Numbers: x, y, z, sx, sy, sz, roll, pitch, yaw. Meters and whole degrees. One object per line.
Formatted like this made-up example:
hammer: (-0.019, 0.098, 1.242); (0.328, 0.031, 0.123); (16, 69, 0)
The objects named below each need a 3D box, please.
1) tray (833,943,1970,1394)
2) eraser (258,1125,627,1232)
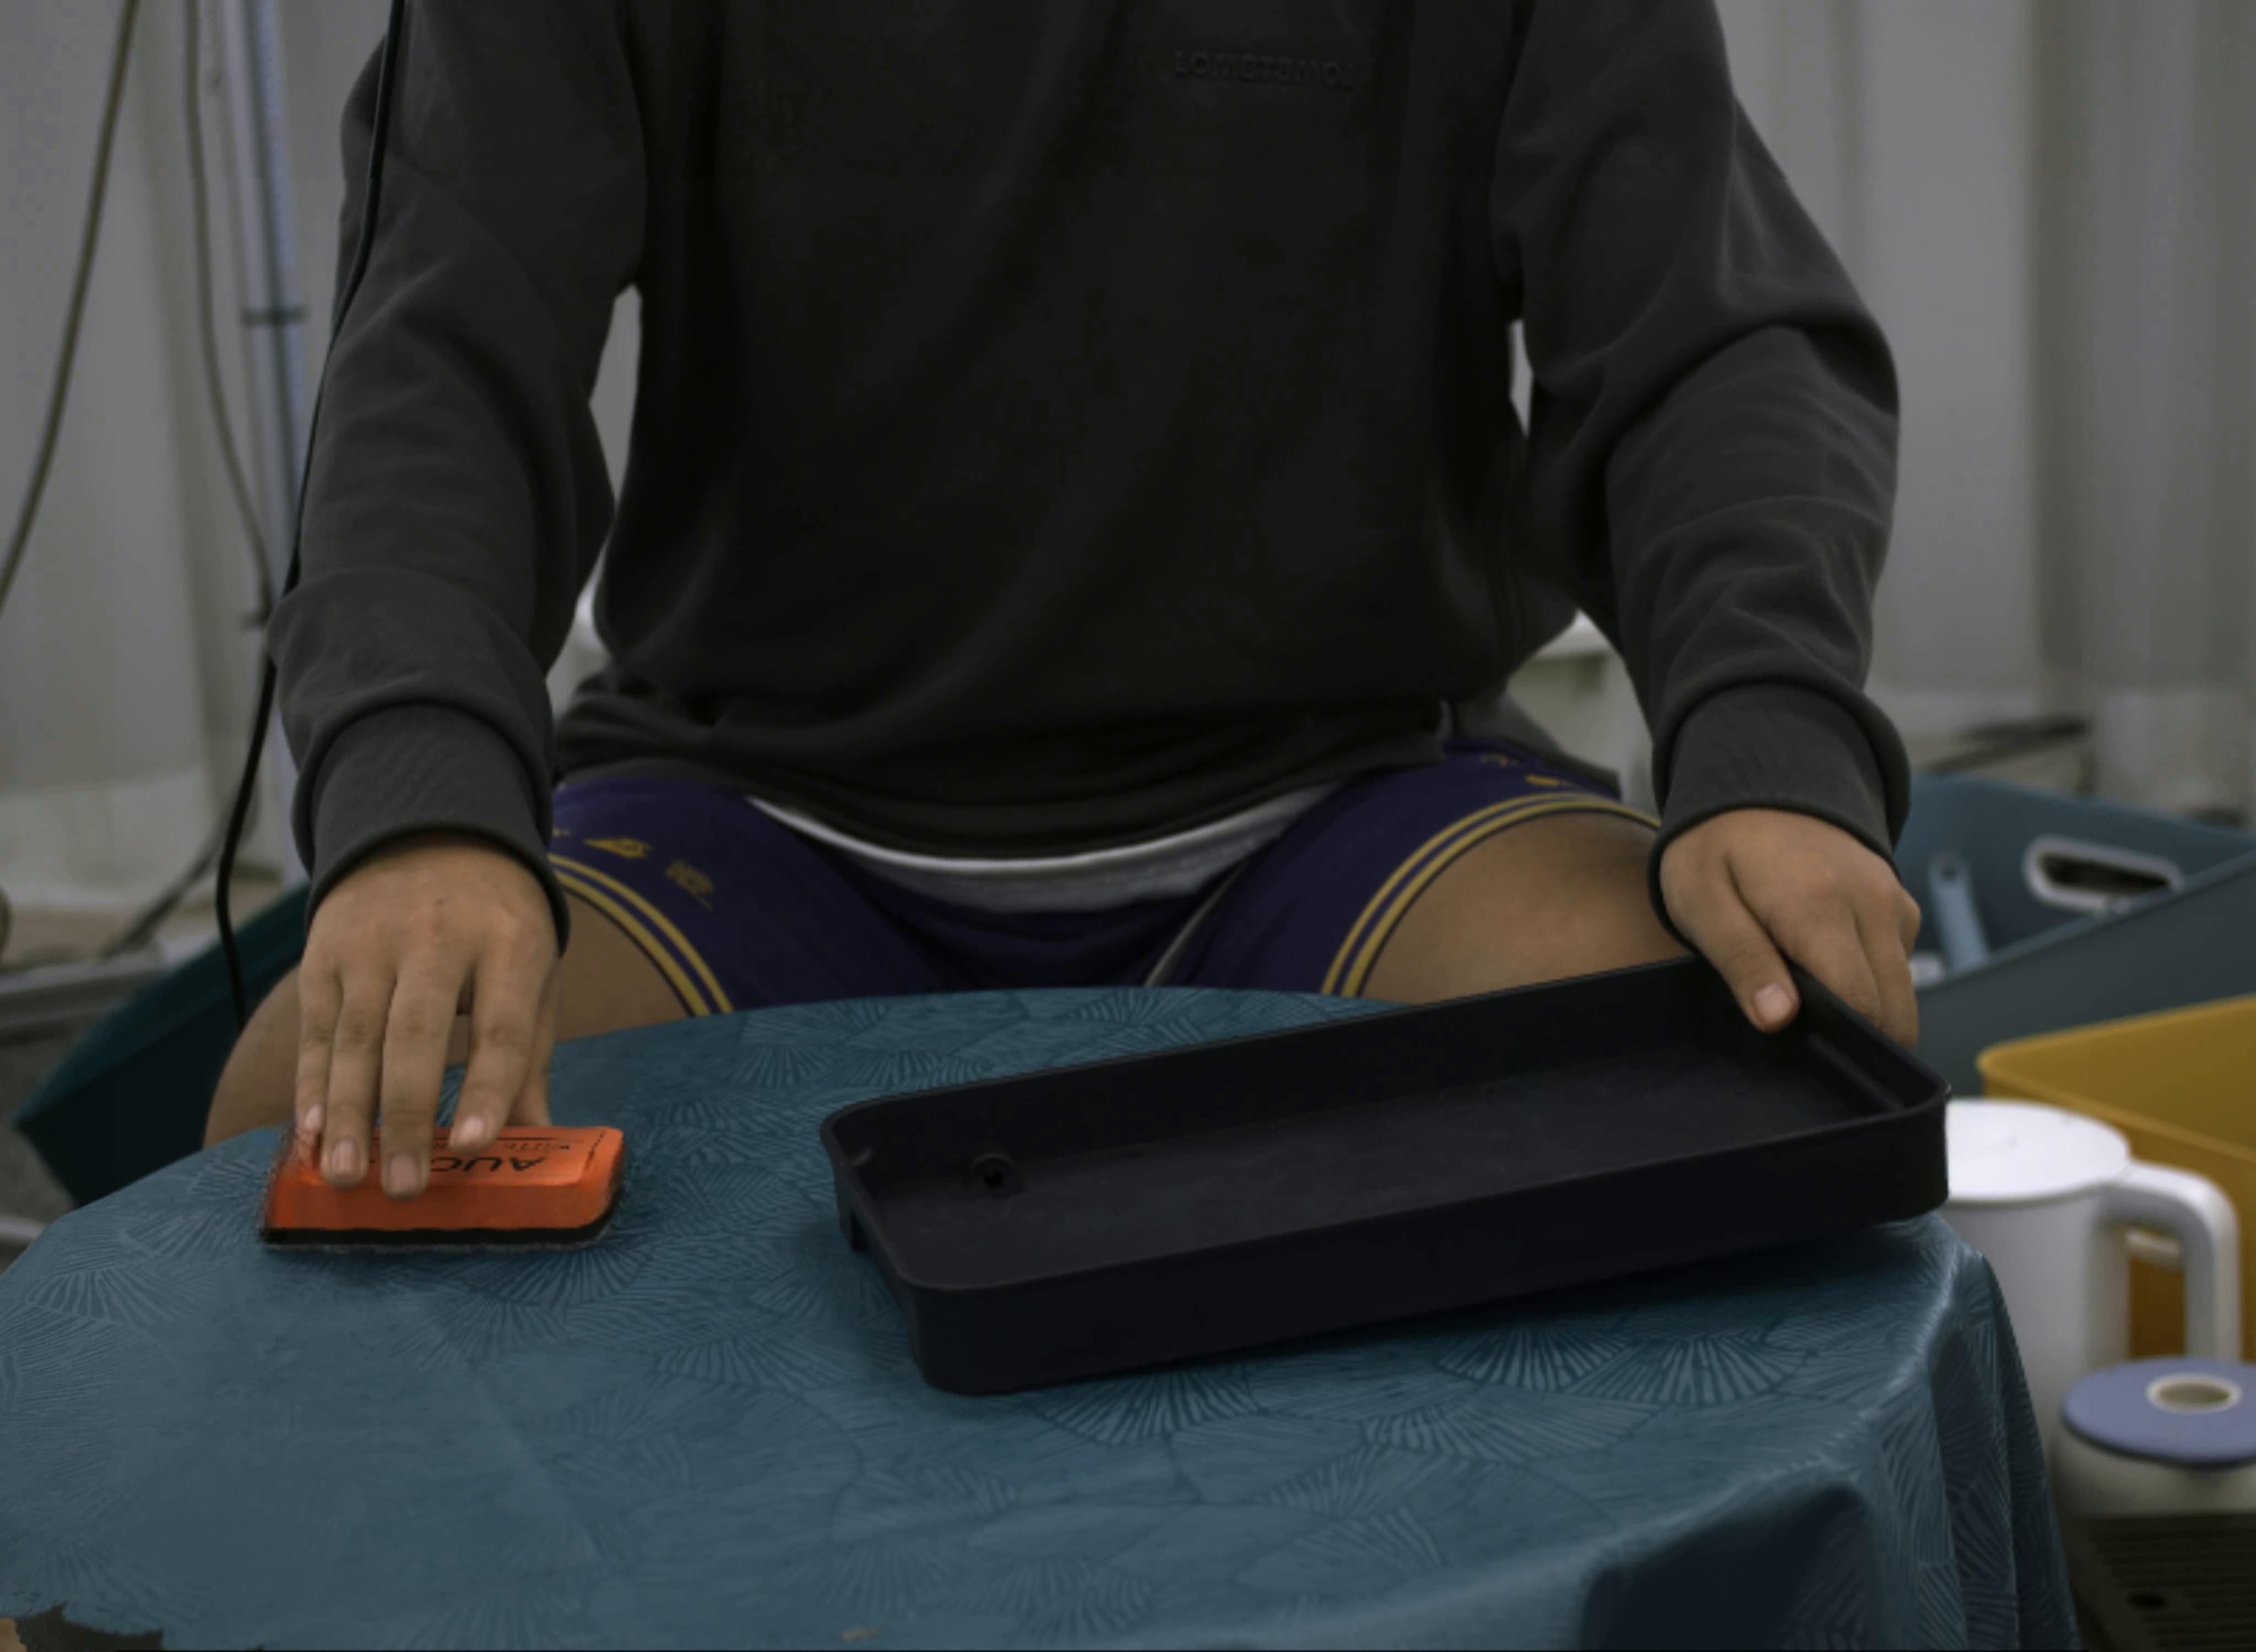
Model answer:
tray: (0.080, 0.099, 1.652); (0.317, 0.037, 0.185); (-10, 15, -12)
eraser: (-0.214, 0.111, 1.716); (0.108, 0.023, 0.059); (-2, 6, 8)
